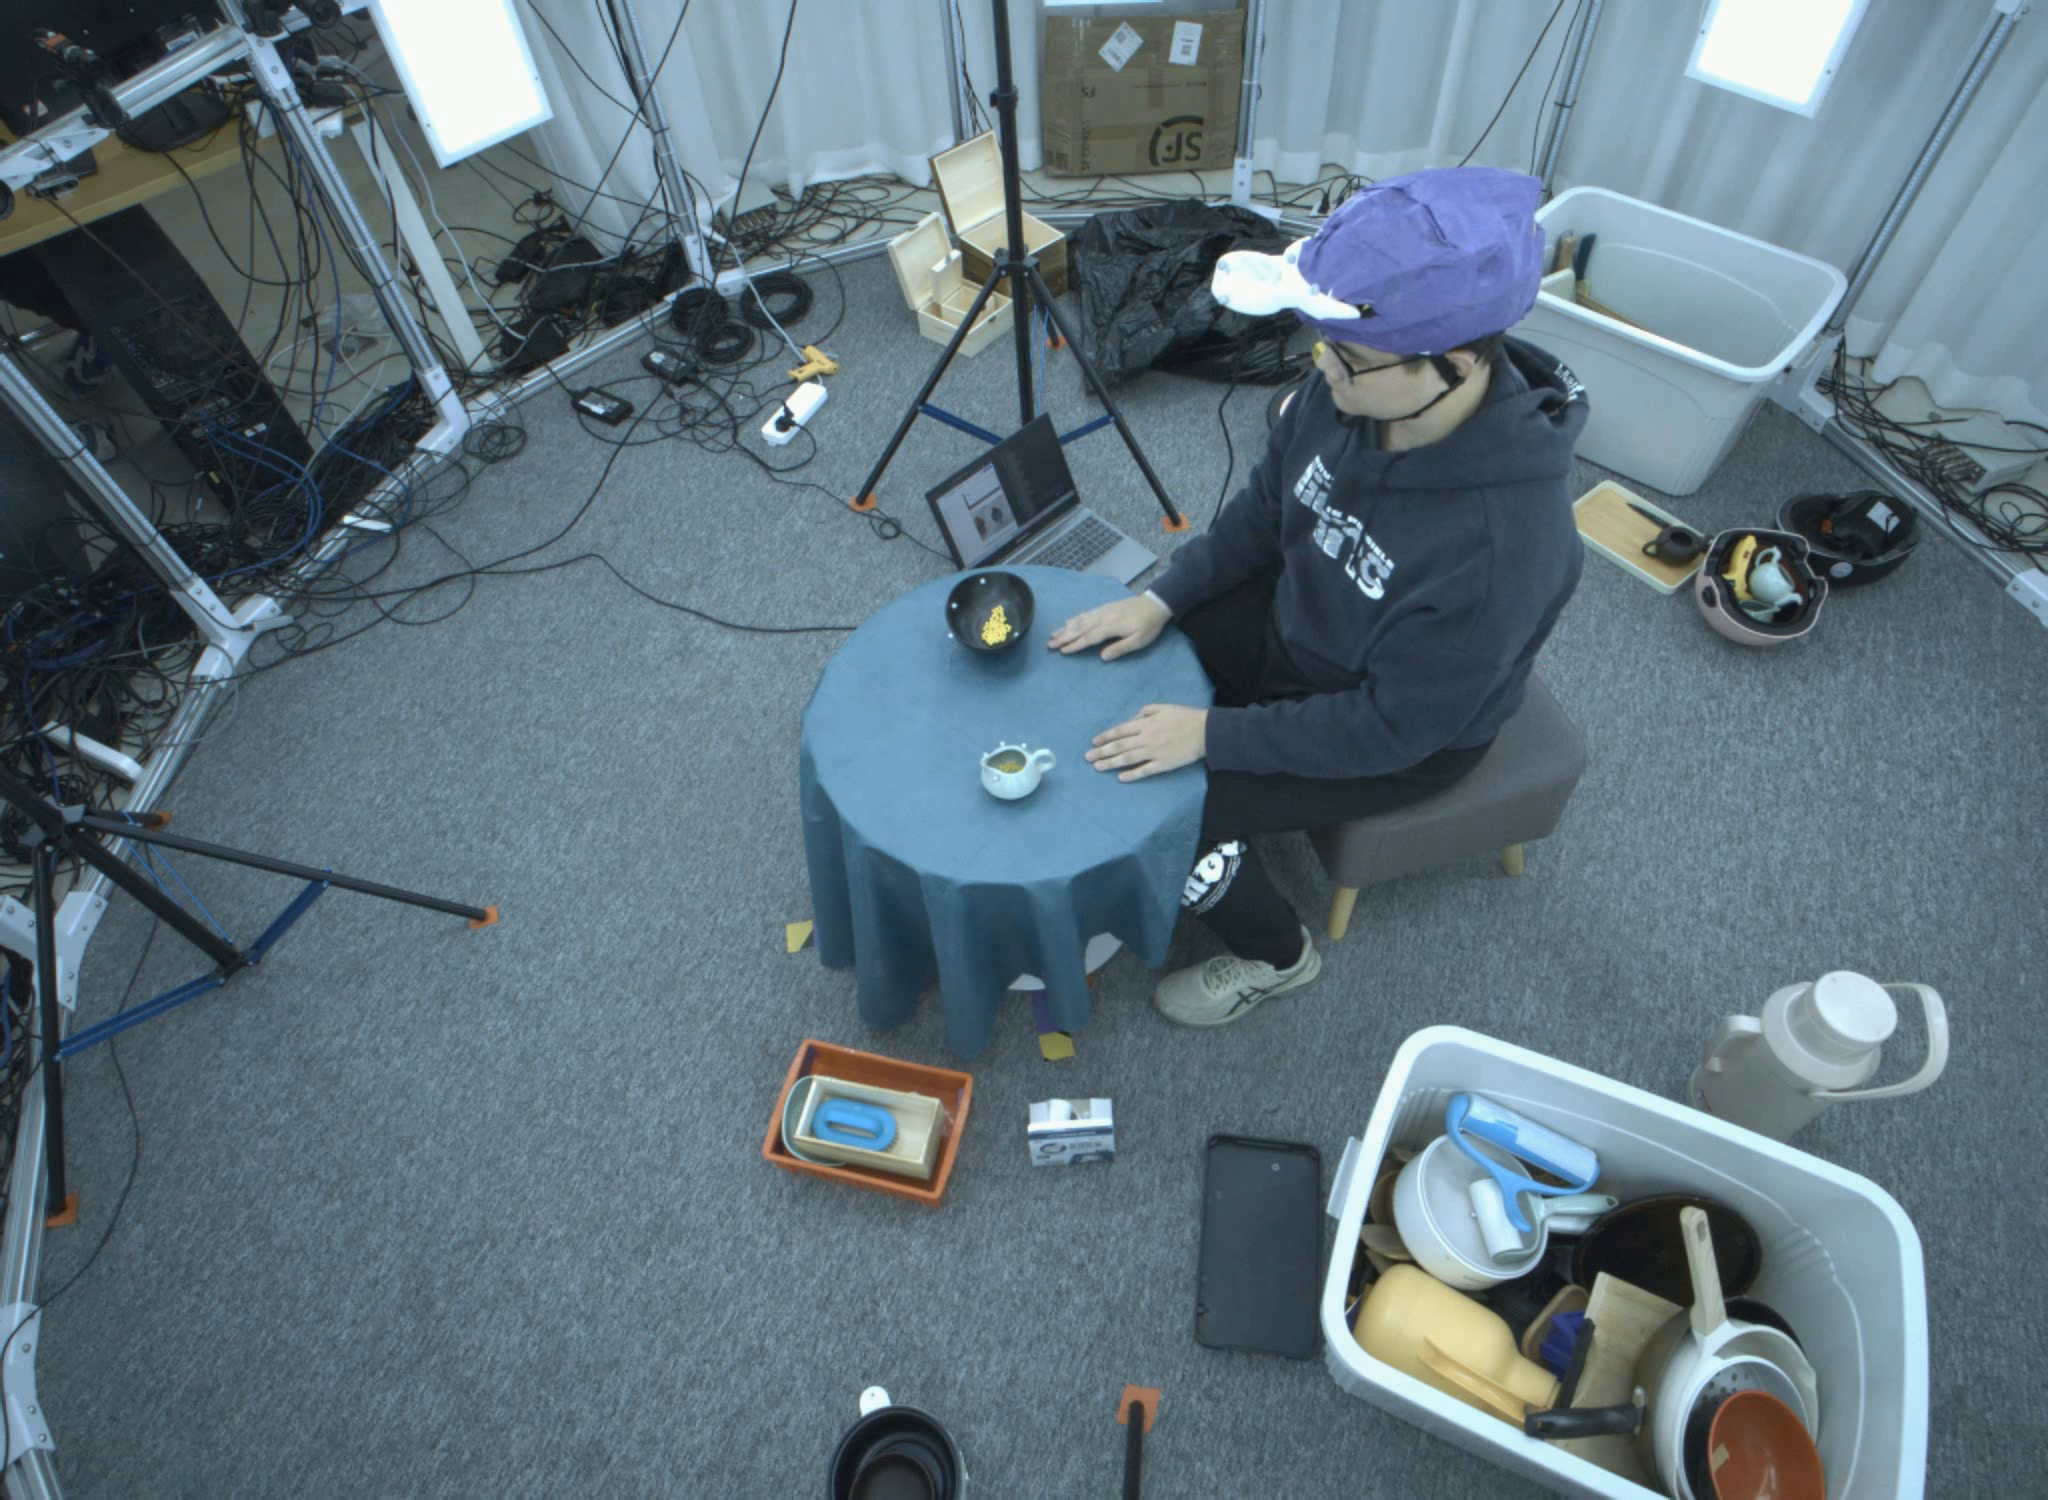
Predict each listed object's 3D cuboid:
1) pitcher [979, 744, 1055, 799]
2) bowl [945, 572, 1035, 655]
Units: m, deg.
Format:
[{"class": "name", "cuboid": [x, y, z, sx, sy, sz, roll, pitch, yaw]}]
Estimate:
[{"class": "pitcher", "cuboid": [-0.009, 0.025, 1.736, 0.108, 0.061, 0.085, -9, 56, -7]}, {"class": "bowl", "cuboid": [-0.051, -0.203, 1.894, 0.137, 0.067, 0.169, 3, 54, 3]}]
